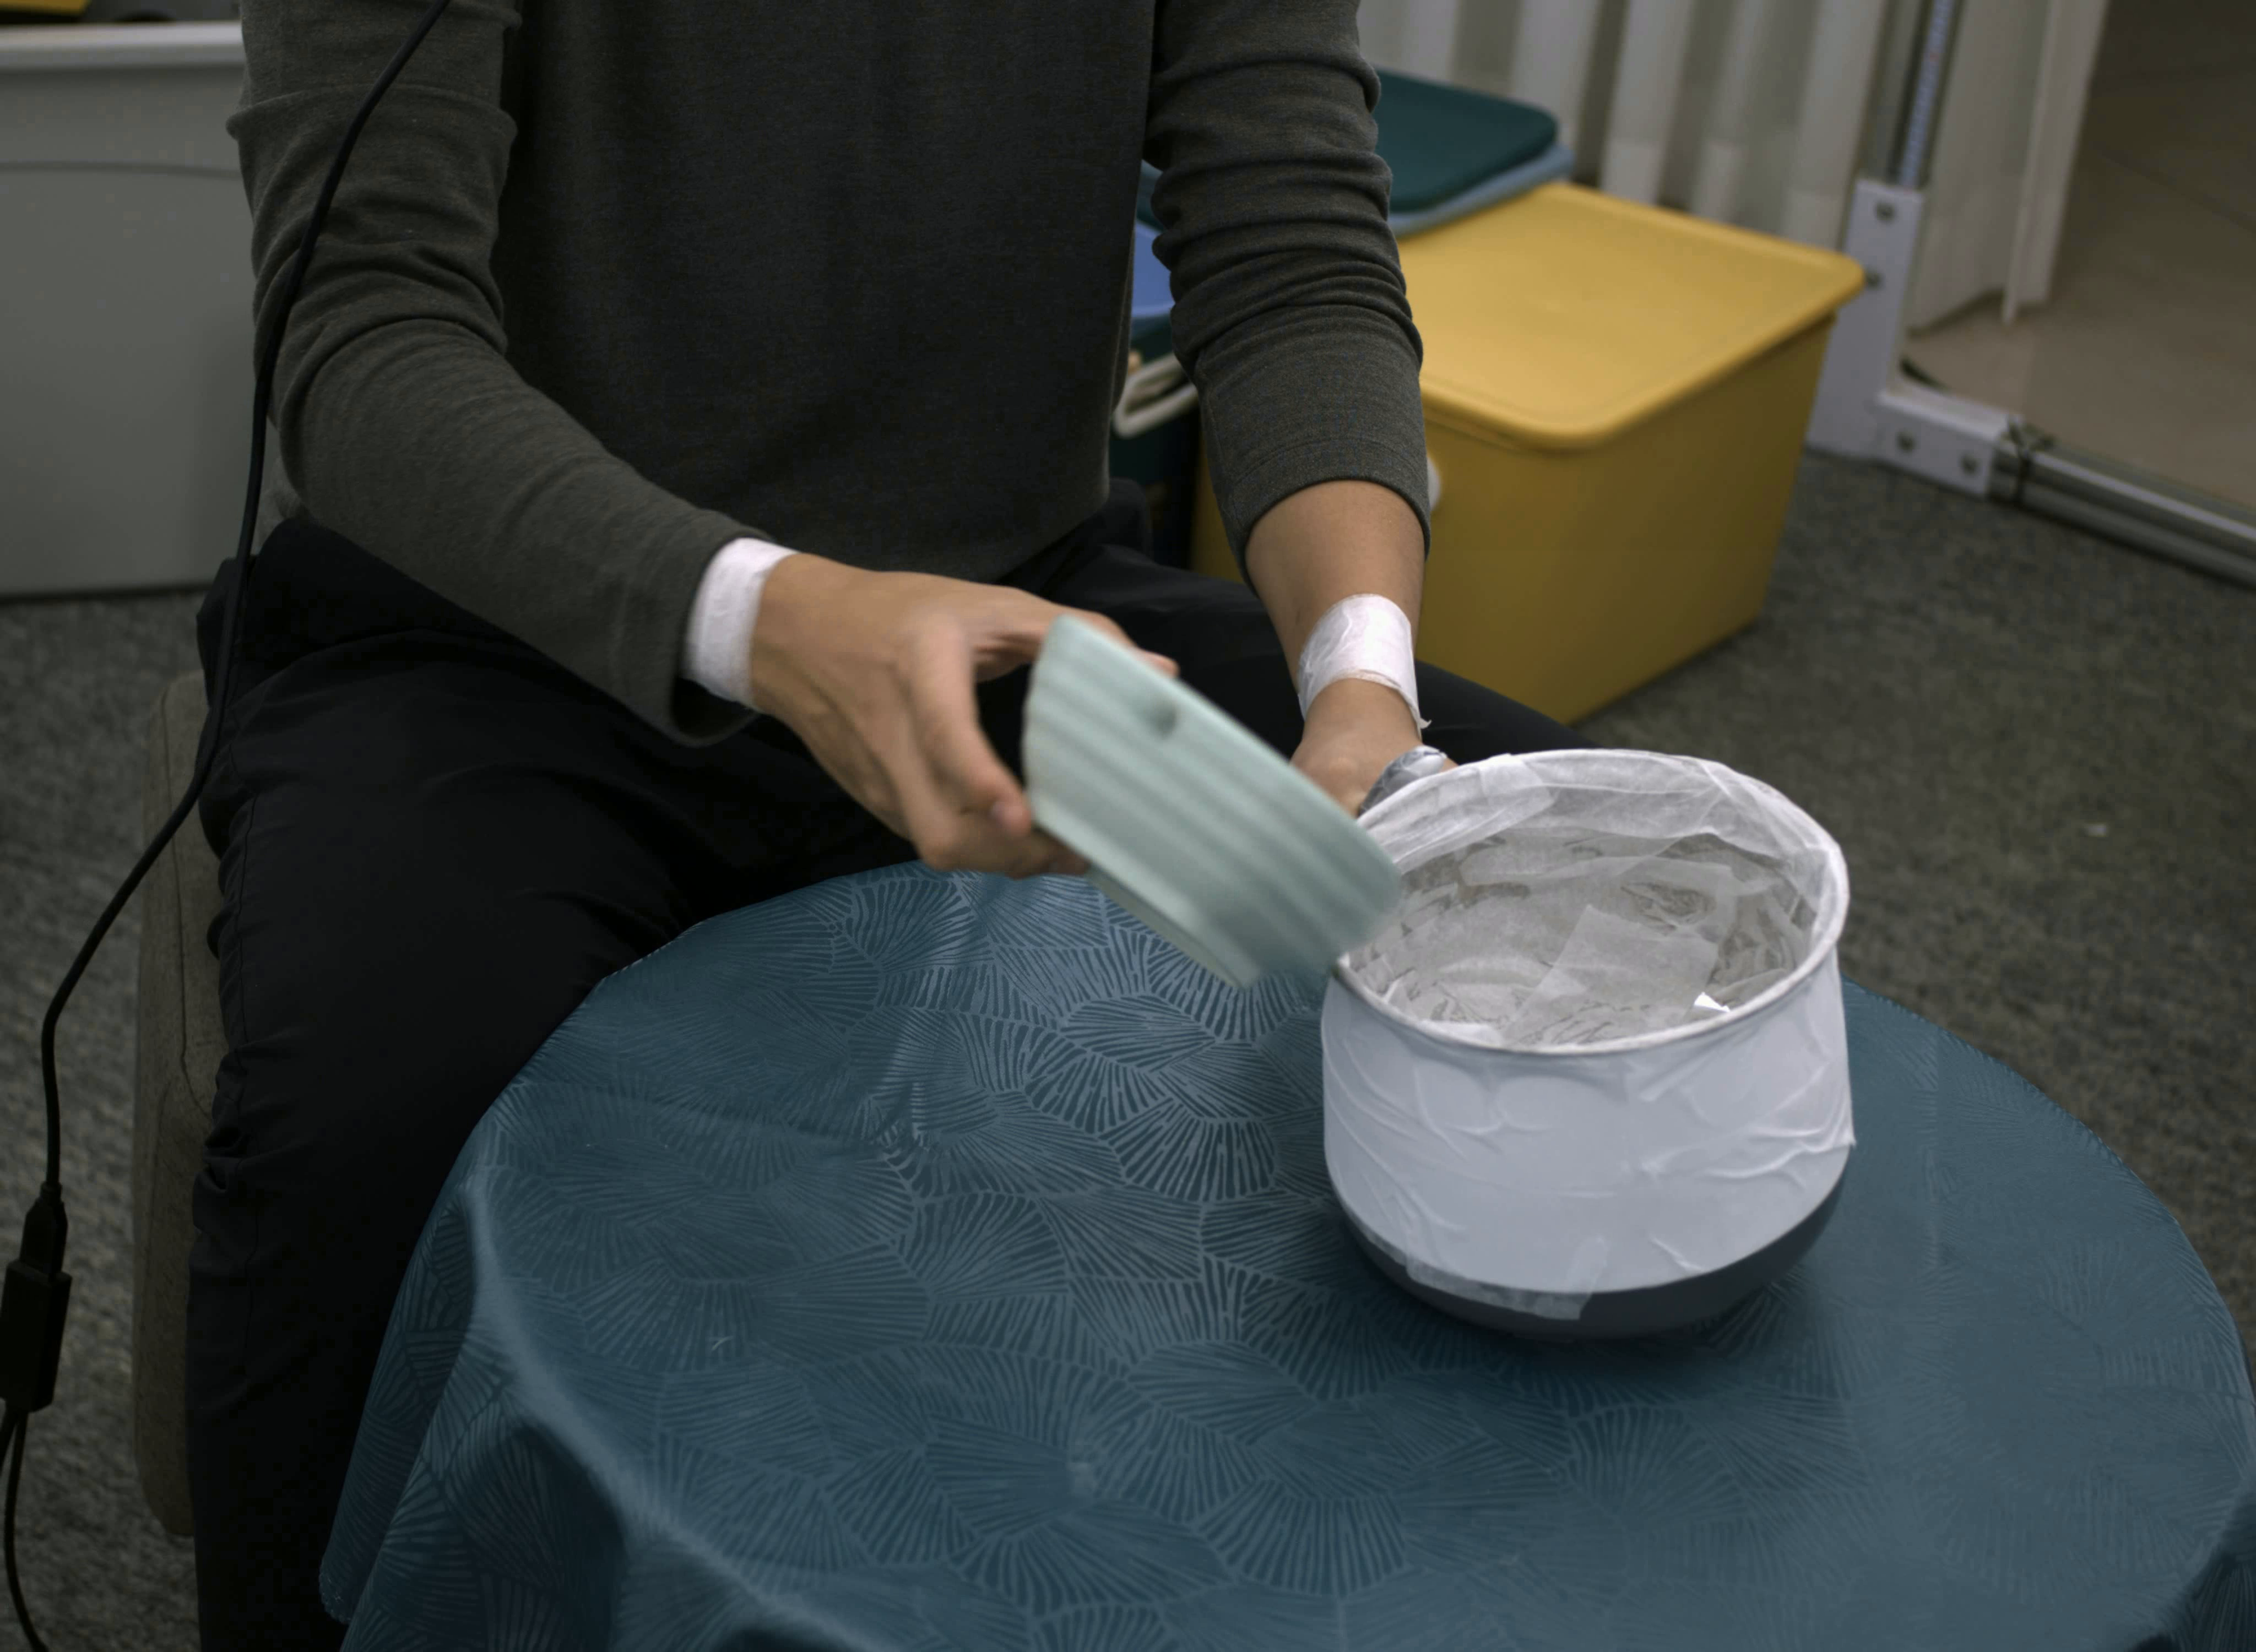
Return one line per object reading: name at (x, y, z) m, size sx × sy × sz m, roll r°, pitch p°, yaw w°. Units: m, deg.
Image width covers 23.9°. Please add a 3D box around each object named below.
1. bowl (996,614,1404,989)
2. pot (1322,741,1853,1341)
bowl at (0.012, 0.001, 1.666) m, size 0.151 × 0.058 × 0.151 m, roll 37°, pitch -2°, yaw 1°
pot at (0.137, 0.062, 1.784) m, size 0.178 × 0.136 × 0.236 m, roll -20°, pitch 35°, yaw -22°
